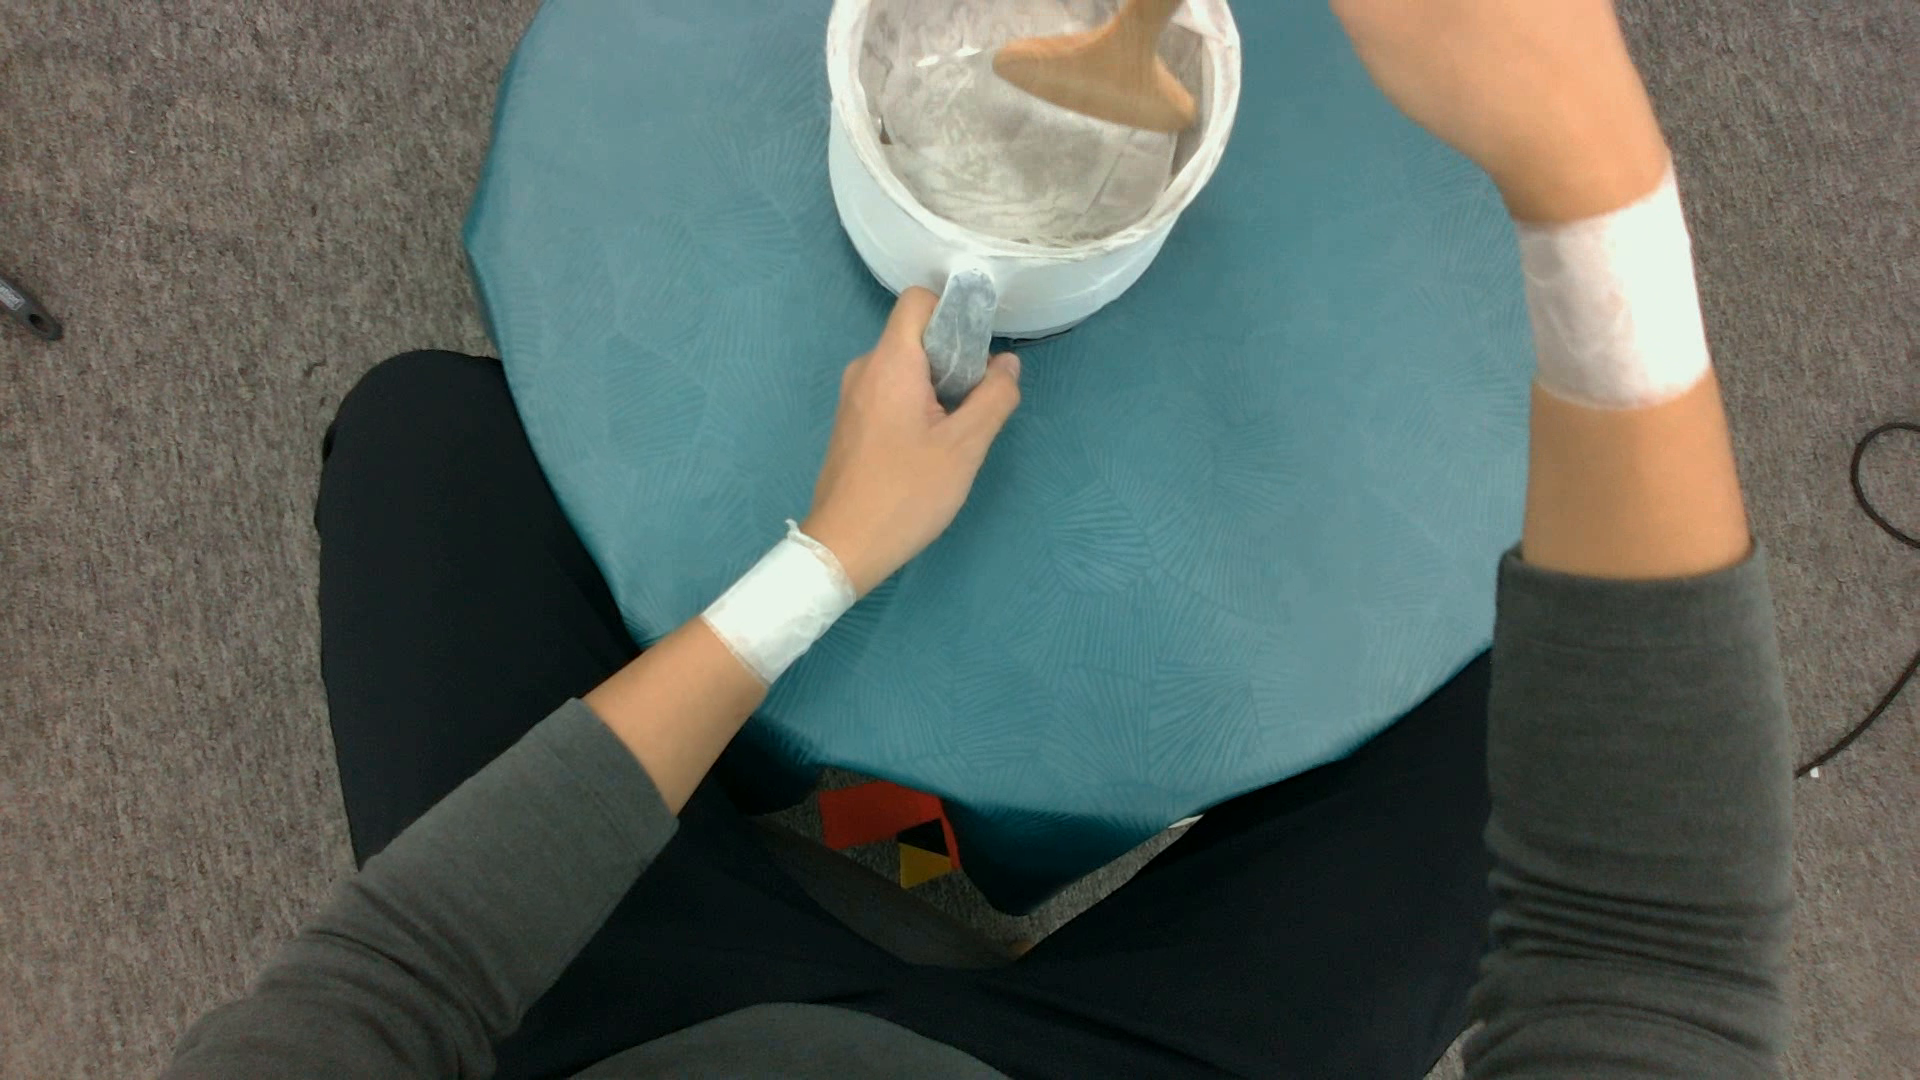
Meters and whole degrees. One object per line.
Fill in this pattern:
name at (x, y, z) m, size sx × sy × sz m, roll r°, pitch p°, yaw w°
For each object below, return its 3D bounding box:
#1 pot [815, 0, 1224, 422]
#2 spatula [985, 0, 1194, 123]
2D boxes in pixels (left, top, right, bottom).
pot at (0.013, -0.174, 0.647) m, size 0.179 × 0.136 × 0.234 m, roll 15°, pitch 81°, yaw -4°
spatula at (0.079, -0.196, 0.467) m, size 0.096 × 0.390 × 0.018 m, roll 13°, pitch 90°, yaw -8°
